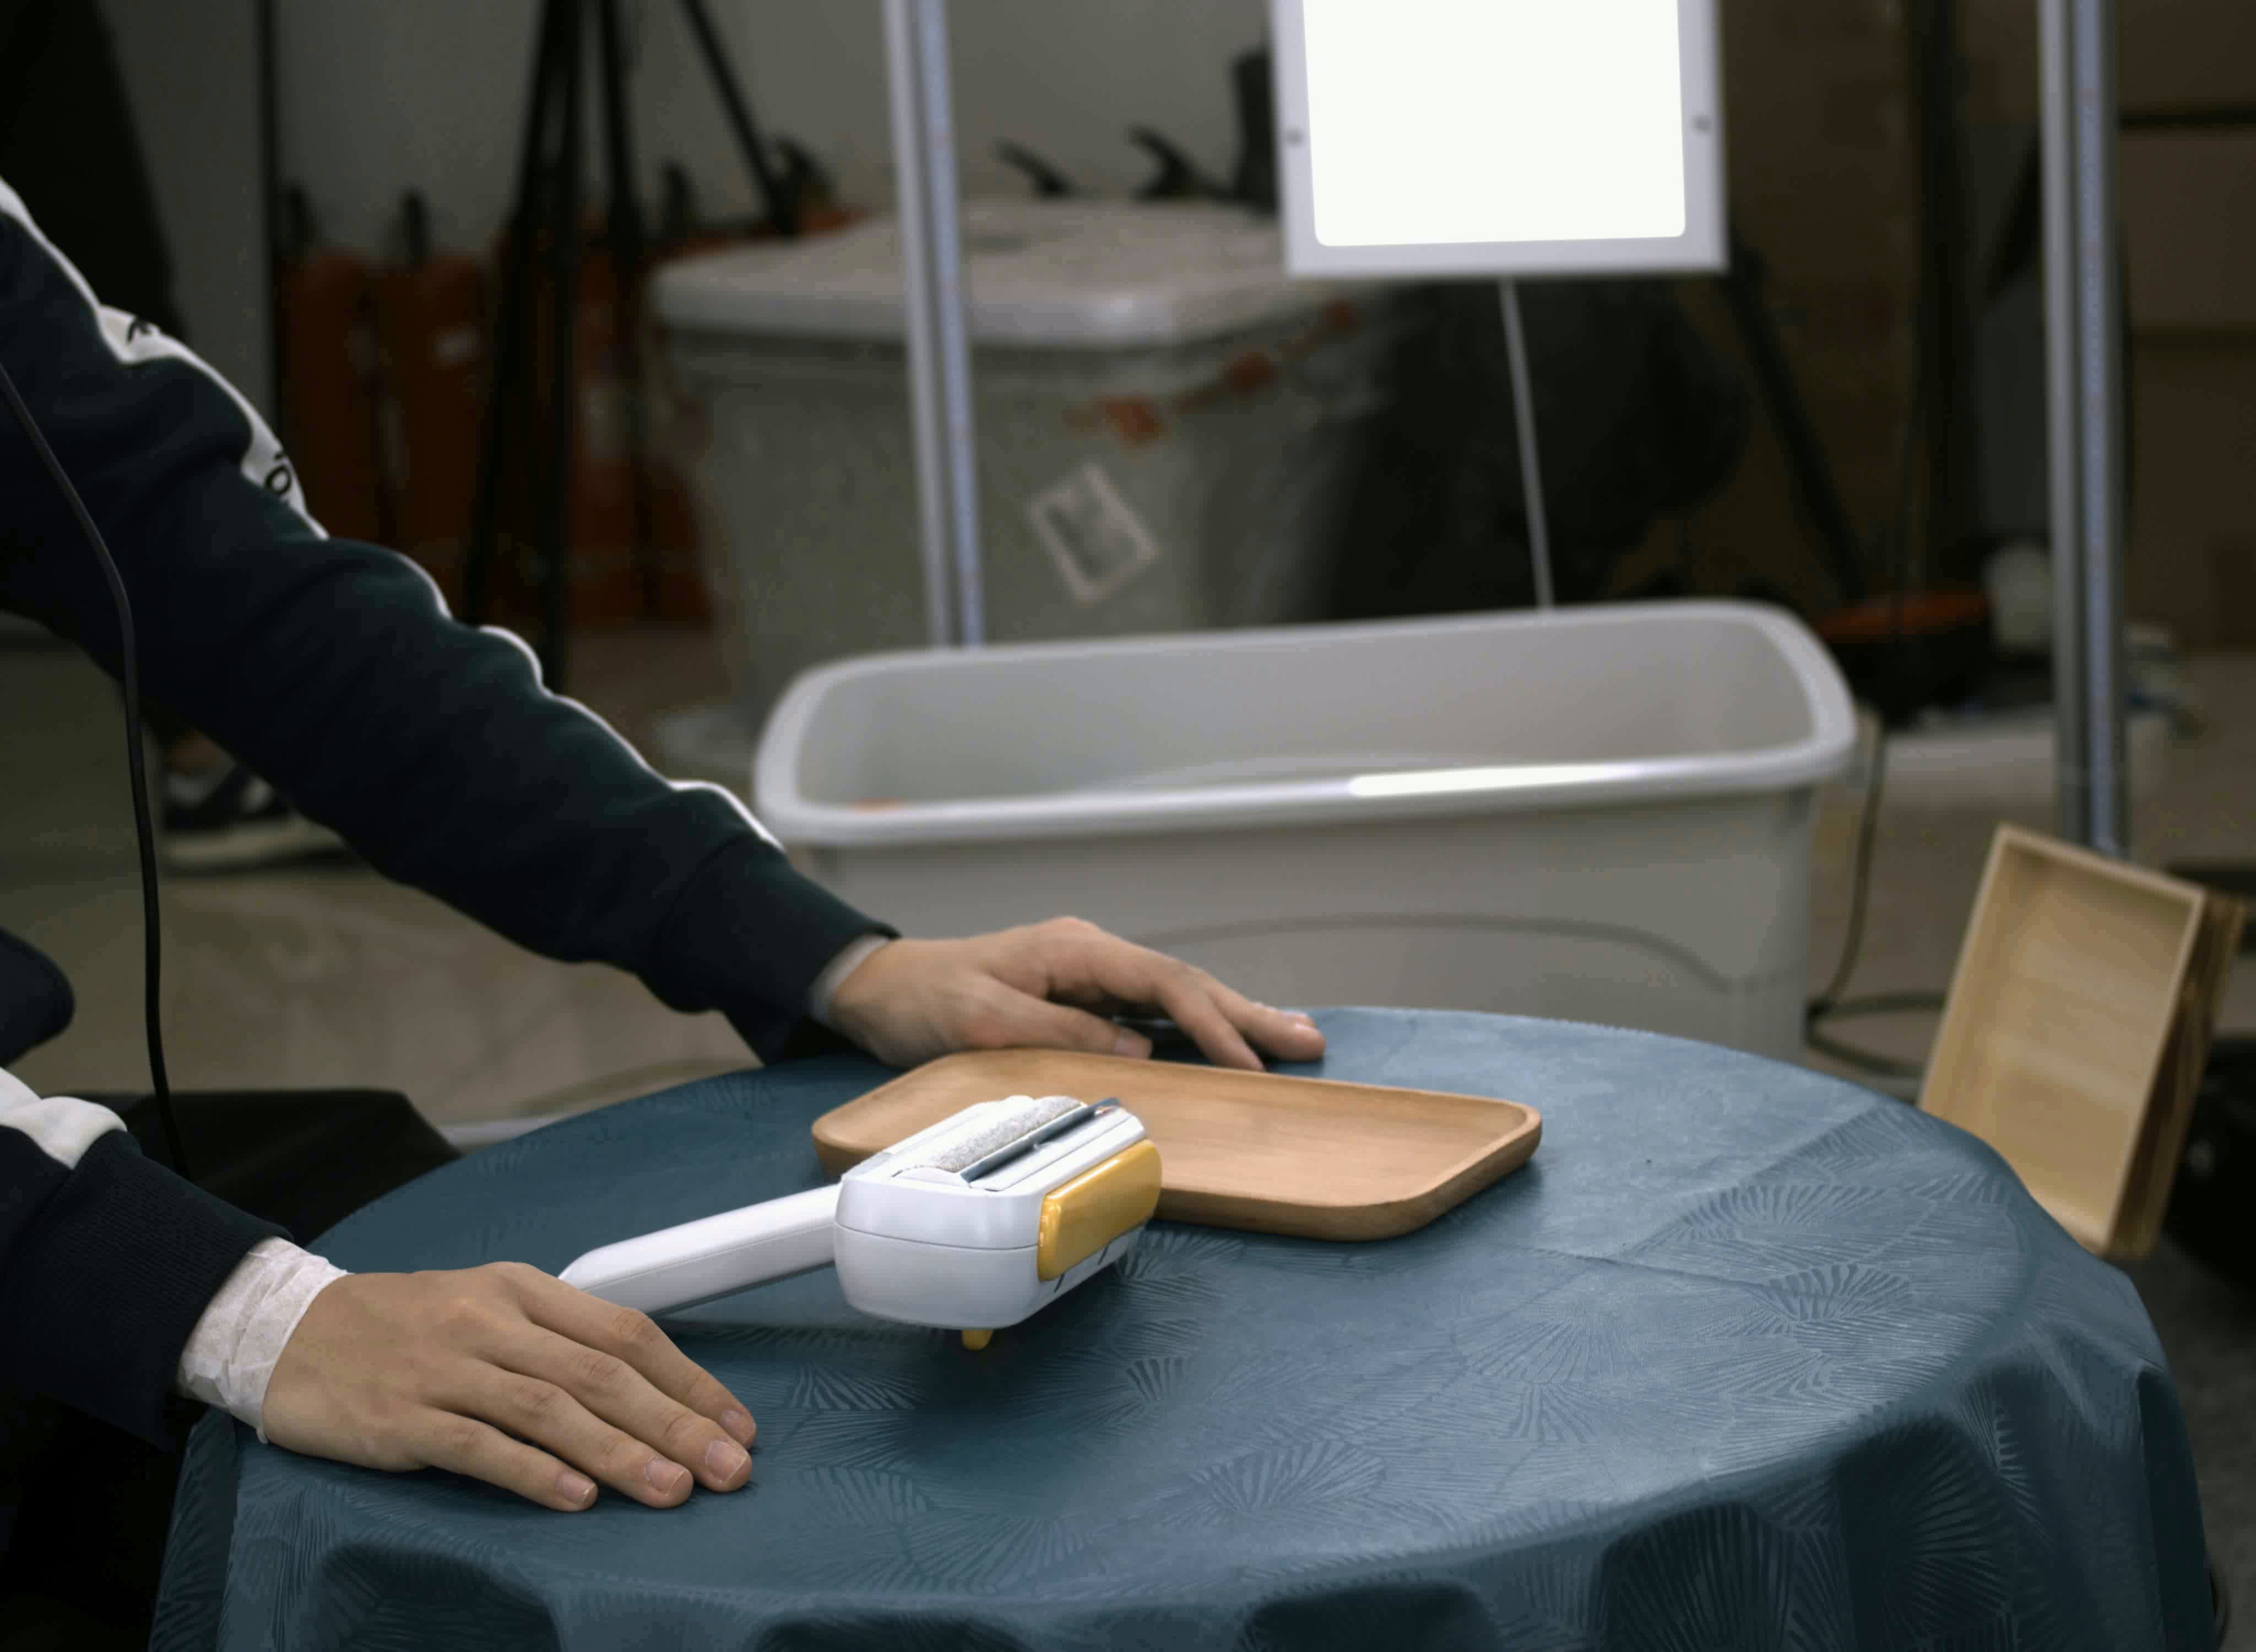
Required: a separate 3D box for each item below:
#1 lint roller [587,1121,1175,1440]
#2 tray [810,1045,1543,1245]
[{"bbox_3d":[-0.093,0.150,1.771,0.195,0.074,0.189,-16,2,22],"label":"lint roller"},{"bbox_3d":[0.016,0.110,1.923,0.256,0.023,0.127,4,14,35],"label":"tray"}]
